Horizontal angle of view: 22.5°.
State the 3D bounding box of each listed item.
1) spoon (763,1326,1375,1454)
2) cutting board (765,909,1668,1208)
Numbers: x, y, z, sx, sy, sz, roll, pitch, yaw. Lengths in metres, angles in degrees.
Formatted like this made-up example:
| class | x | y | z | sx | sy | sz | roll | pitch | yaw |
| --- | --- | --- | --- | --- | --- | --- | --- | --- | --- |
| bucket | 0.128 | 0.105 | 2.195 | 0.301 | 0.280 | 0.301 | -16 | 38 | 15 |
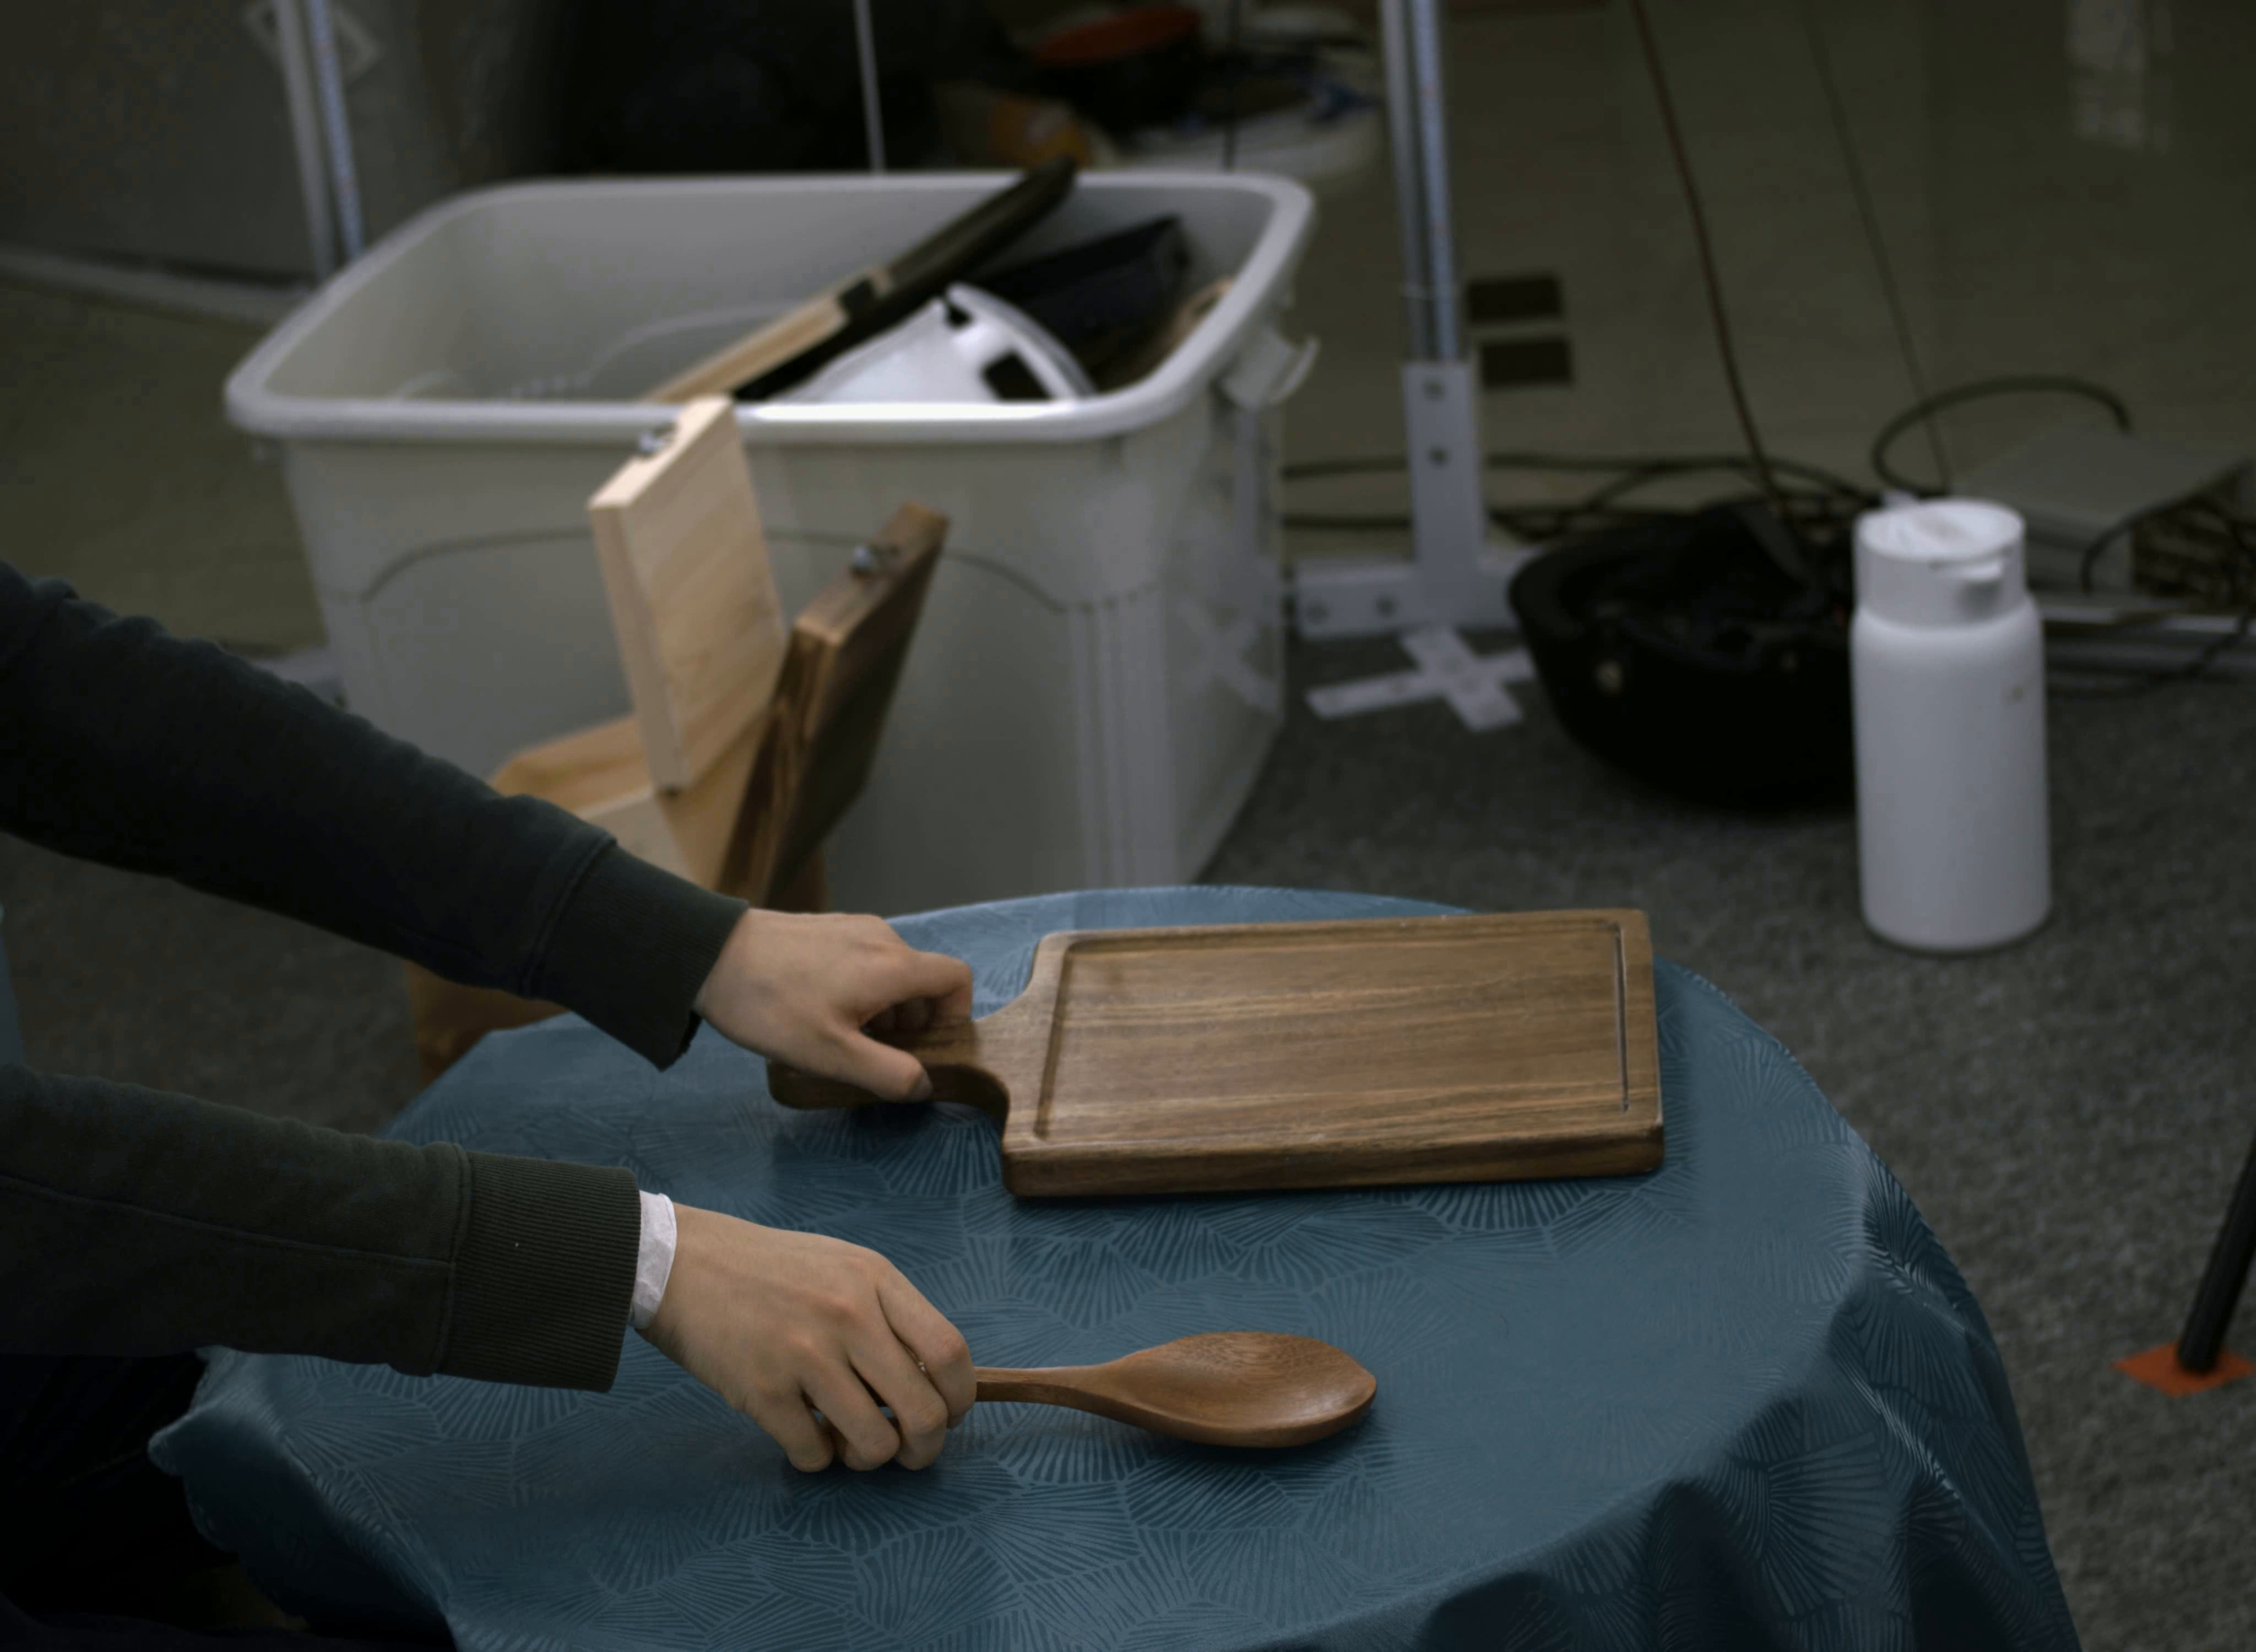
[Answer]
| class | x | y | z | sx | sy | sz | roll | pitch | yaw |
| --- | --- | --- | --- | --- | --- | --- | --- | --- | --- |
| spoon | -0.021 | 0.197 | 1.993 | 0.215 | 0.017 | 0.074 | 3 | 26 | 3 |
| cutting board | 0.033 | 0.091 | 2.218 | 0.351 | 0.023 | 0.198 | -3 | 26 | 5 |
